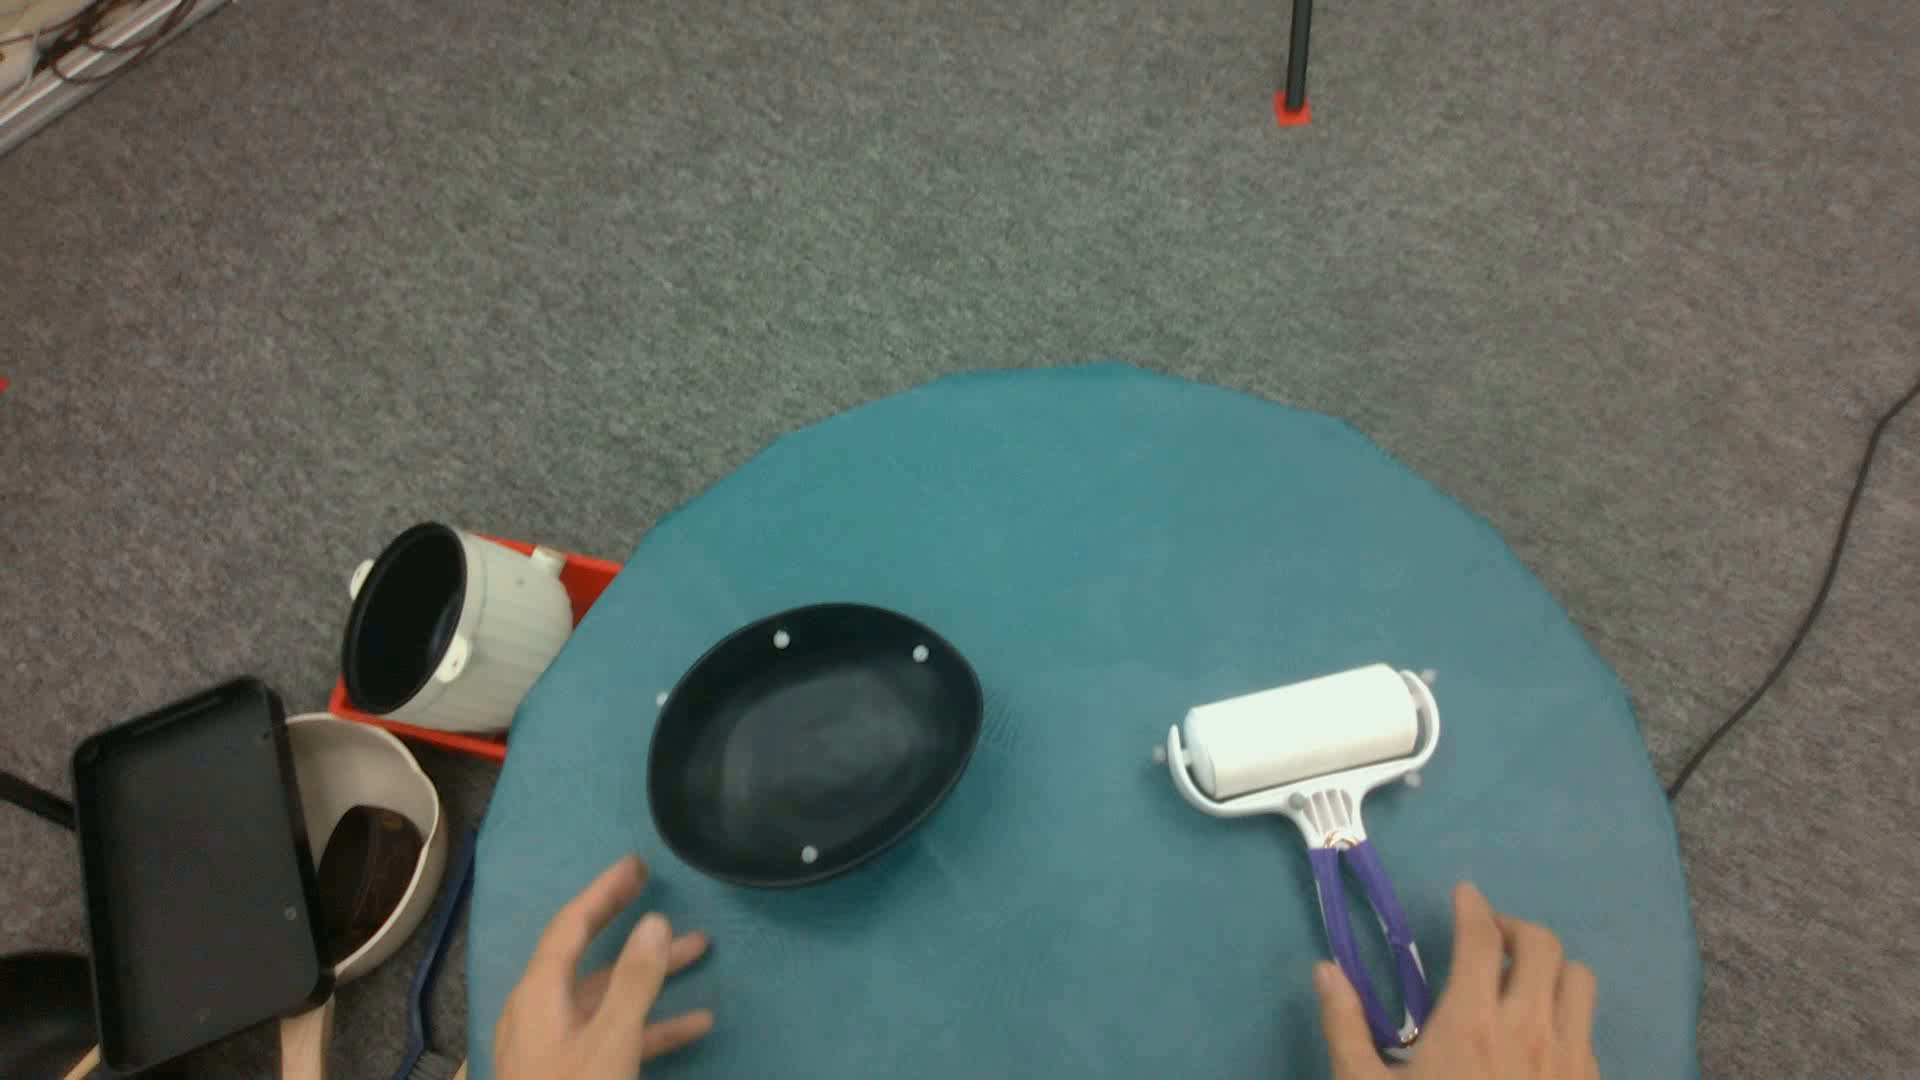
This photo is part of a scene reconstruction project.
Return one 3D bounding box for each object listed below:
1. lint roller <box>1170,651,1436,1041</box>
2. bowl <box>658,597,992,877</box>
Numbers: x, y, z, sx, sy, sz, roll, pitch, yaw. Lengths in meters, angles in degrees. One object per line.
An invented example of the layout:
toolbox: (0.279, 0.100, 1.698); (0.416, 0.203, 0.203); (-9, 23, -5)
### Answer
lint roller: (0.184, 0.147, 0.665); (0.133, 0.050, 0.181); (-12, 60, -1)
bowl: (-0.066, 0.103, 0.702); (0.170, 0.066, 0.137); (-26, 65, -10)
